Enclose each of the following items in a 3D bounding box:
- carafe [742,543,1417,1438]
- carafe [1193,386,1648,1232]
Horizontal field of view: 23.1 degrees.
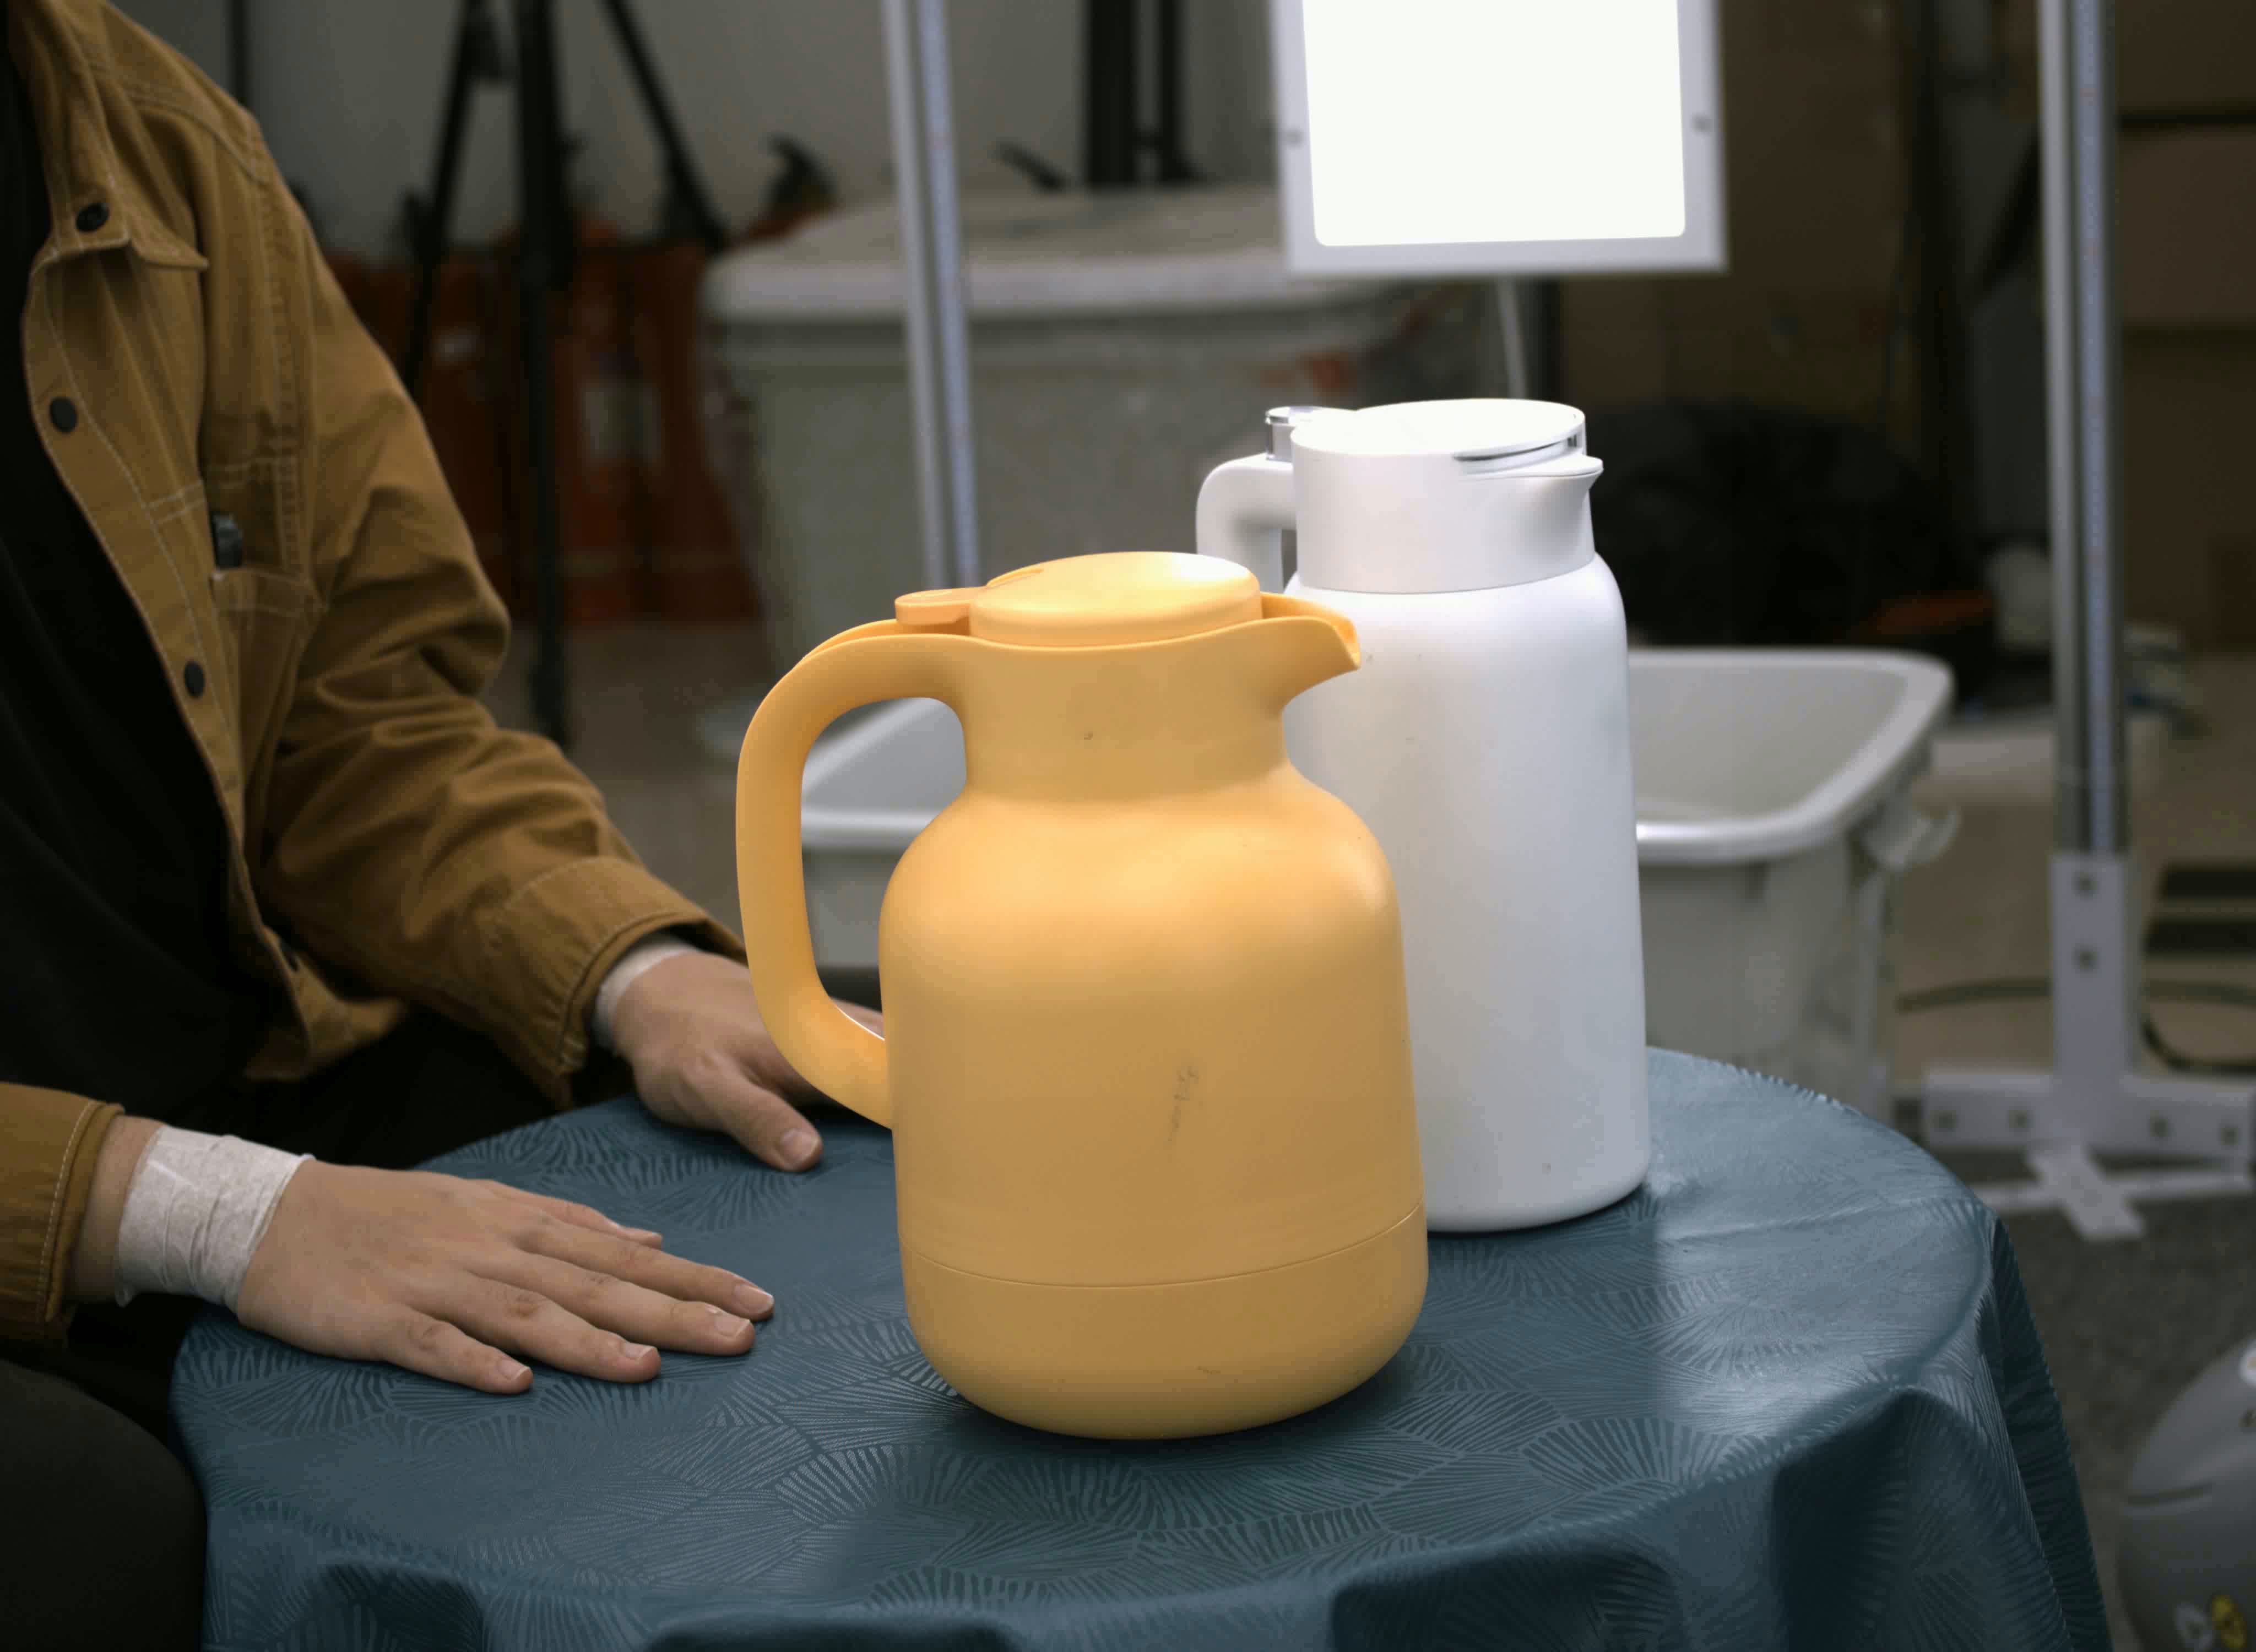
[{"bbox_3d":[-0.015,0.046,1.681,0.204,0.261,0.161,0,11,14],"label":"carafe"},{"bbox_3d":[0.097,-0.008,1.848,0.121,0.270,0.176,-20,20,-41],"label":"carafe"}]
